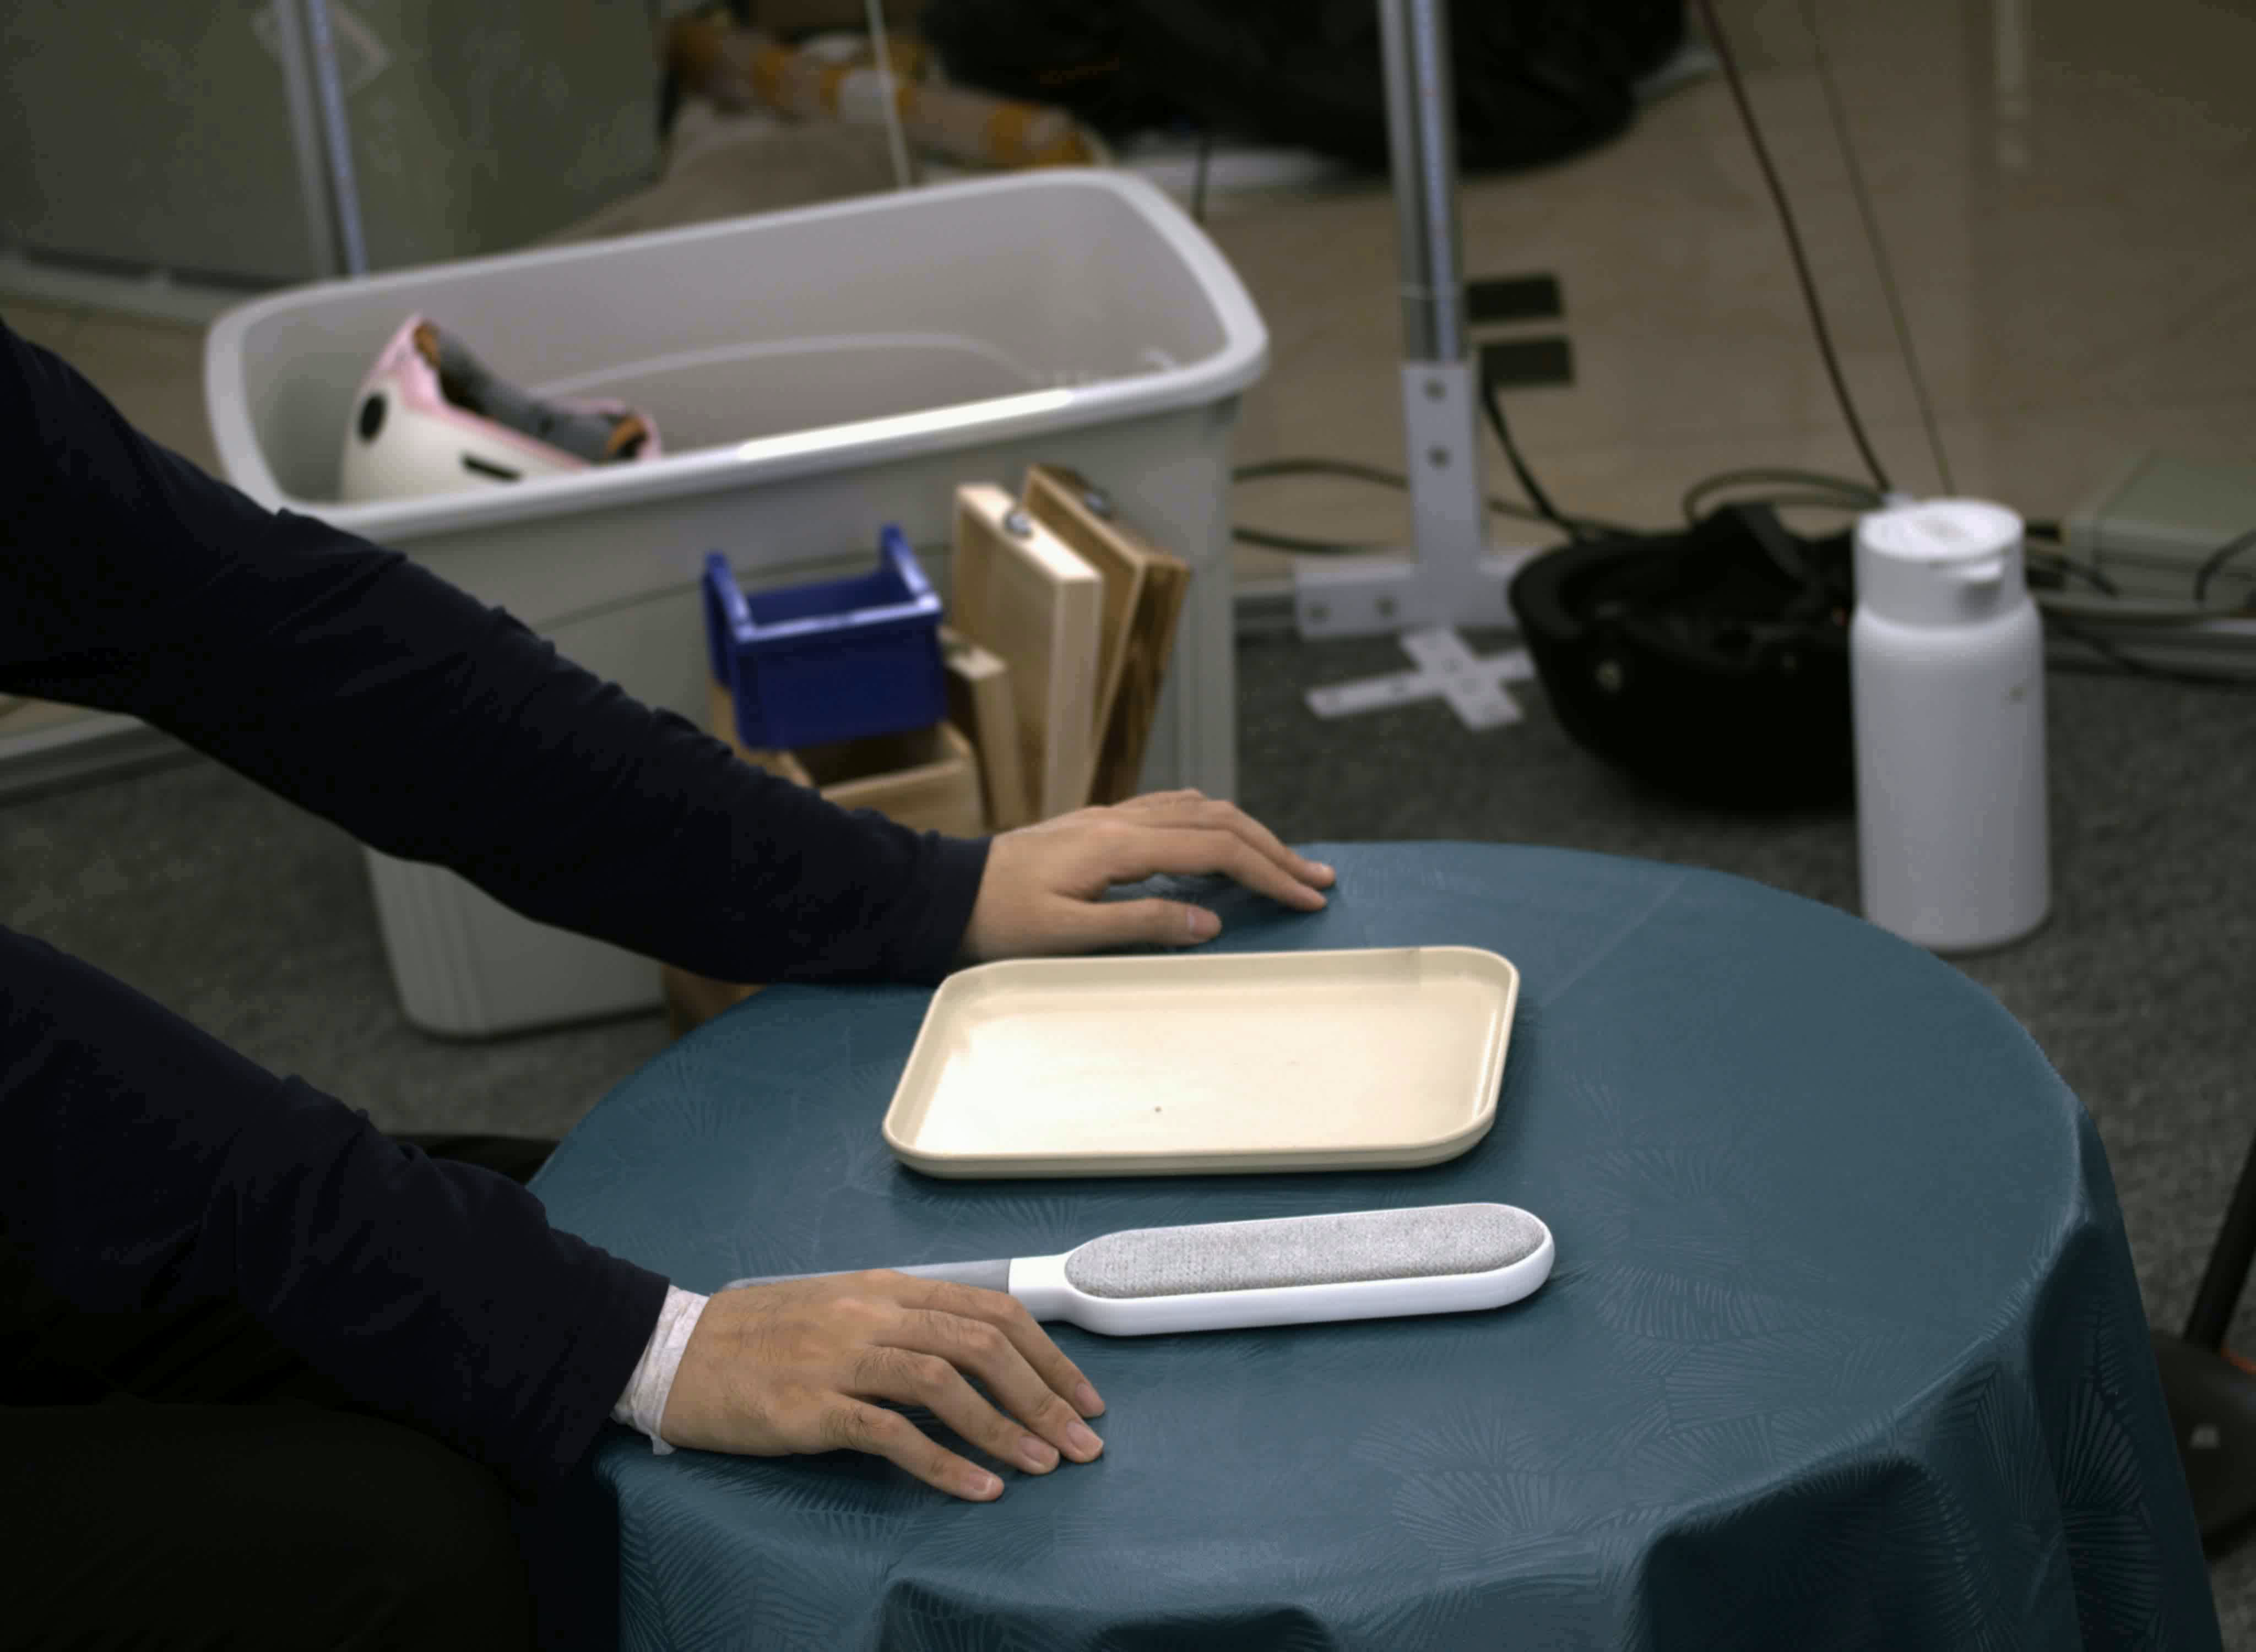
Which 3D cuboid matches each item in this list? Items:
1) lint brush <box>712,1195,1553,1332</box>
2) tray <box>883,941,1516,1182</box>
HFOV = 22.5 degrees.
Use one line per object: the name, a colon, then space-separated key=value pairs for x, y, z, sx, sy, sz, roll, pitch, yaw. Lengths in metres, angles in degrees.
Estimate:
lint brush: x=0.001 y=0.163 z=2.068 sx=0.308 sy=0.021 sz=0.059 roll=-4 pitch=30 yaw=5
tray: x=0.030 y=0.093 z=2.222 sx=0.239 sy=0.018 sz=0.169 roll=-2 pitch=26 yaw=10
